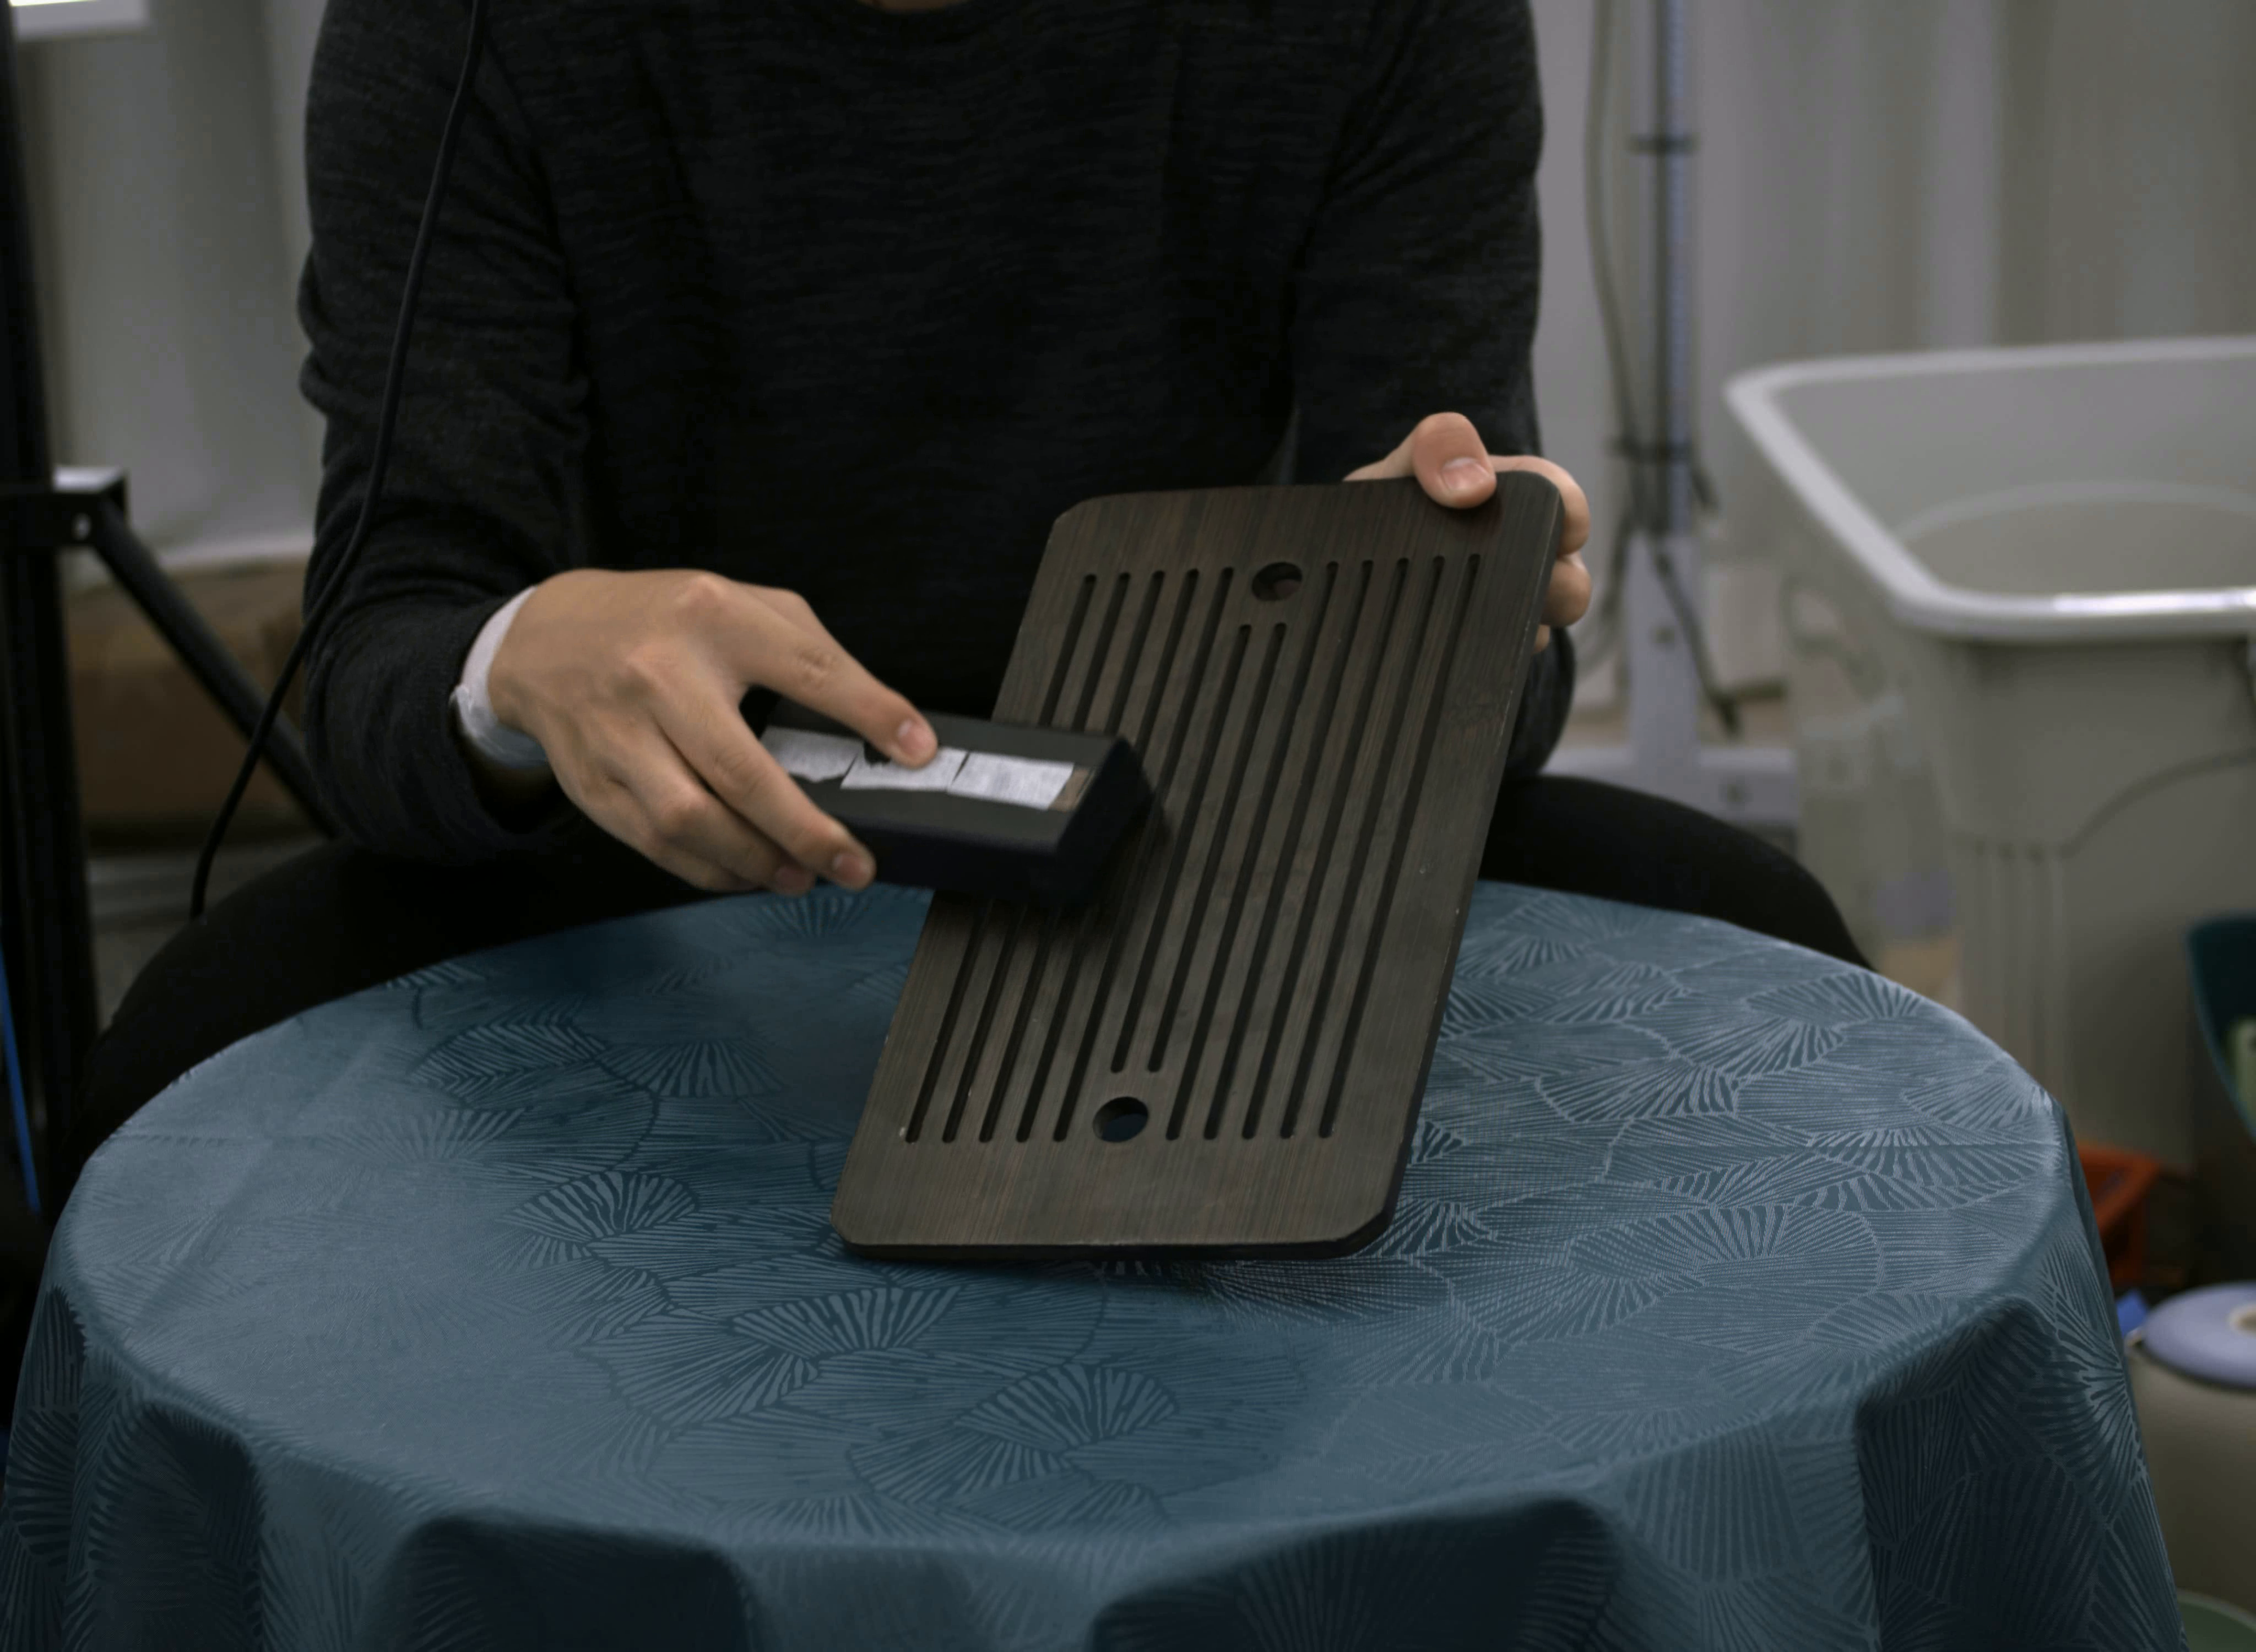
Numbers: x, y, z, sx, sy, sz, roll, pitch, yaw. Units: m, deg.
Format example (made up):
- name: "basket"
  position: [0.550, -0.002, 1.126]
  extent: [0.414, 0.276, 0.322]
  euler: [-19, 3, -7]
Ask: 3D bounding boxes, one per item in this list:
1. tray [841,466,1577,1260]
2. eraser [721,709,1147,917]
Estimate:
- name: "tray"
  position: [0.030, 0.009, 1.580]
  extent: [0.172, 0.018, 0.307]
  euler: [-3, 46, 23]
- name: "eraser"
  position: [-0.058, -0.005, 1.606]
  extent: [0.128, 0.030, 0.053]
  euler: [7, 49, 32]
